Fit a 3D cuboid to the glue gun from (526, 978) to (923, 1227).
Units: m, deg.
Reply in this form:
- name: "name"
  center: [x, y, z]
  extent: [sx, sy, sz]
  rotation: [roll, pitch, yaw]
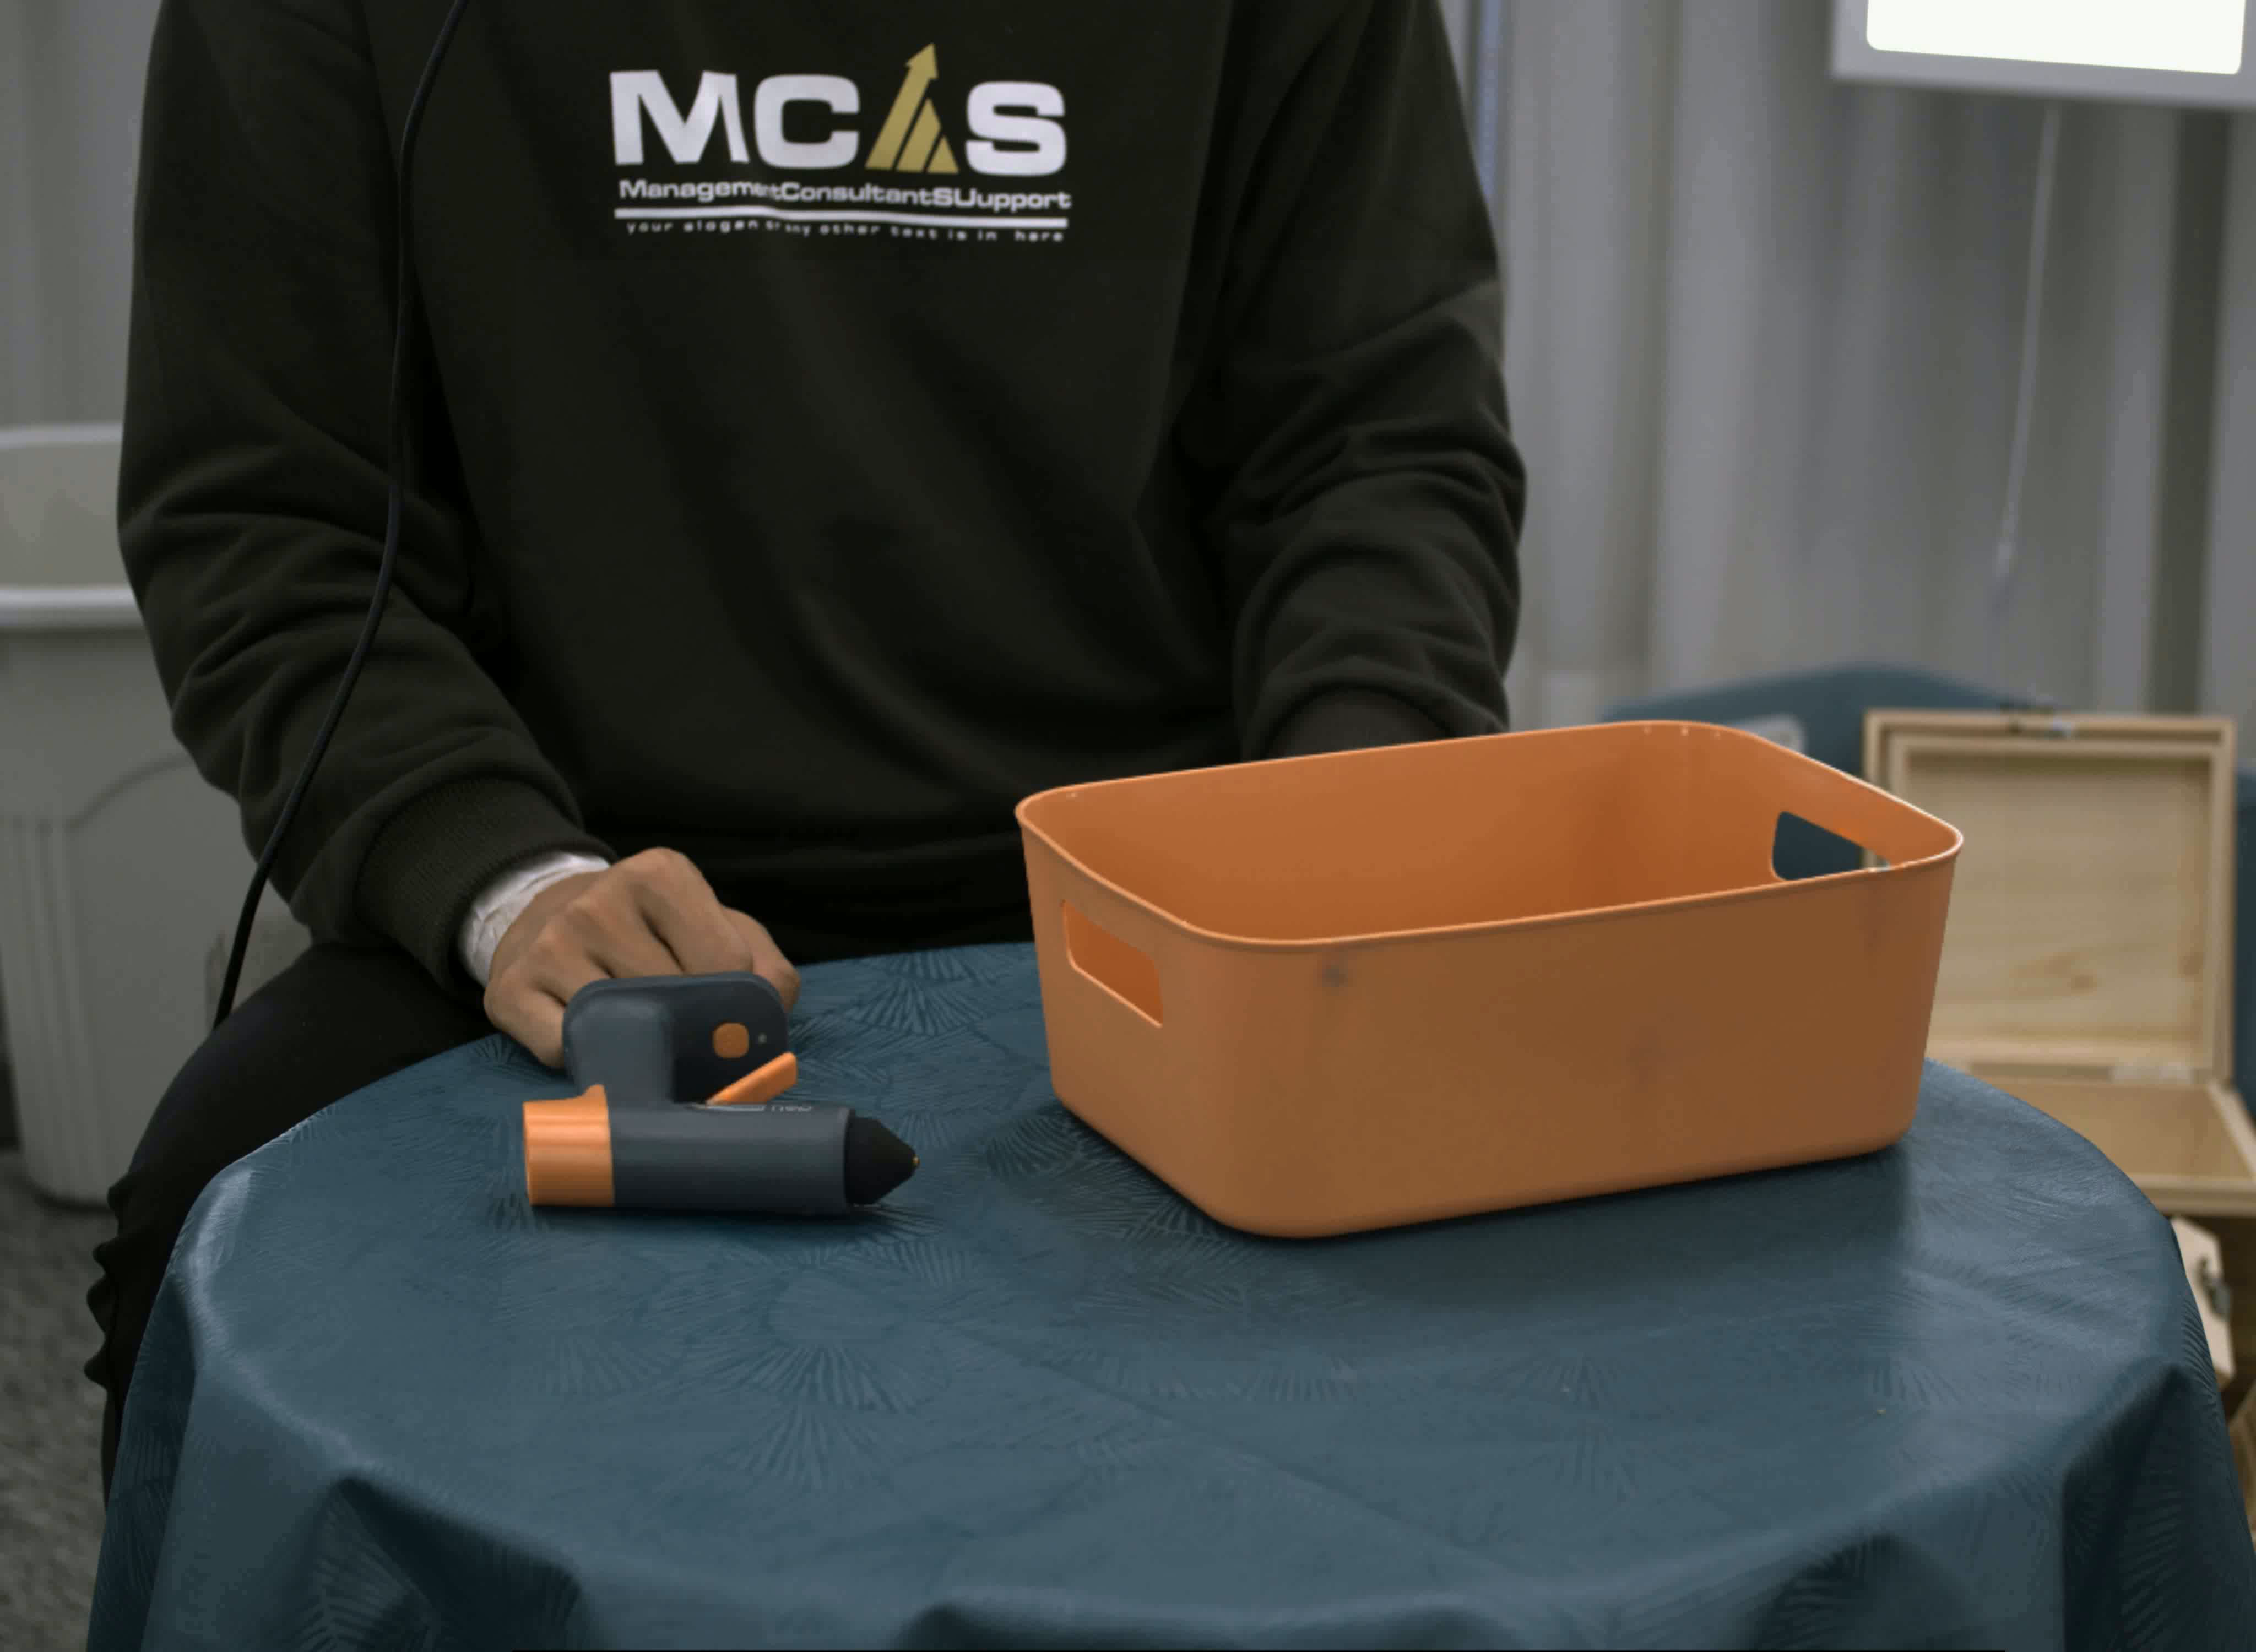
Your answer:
- name: "glue gun"
  center: [-0.131, 0.089, 1.647]
  extent: [0.118, 0.041, 0.138]
  rotation: [0, 18, -11]

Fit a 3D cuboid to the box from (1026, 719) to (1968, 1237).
- name: "box"
  center: [0.114, 0.046, 1.680]
  extent: [0.274, 0.103, 0.197]
  rotation: [-7, 18, -24]
